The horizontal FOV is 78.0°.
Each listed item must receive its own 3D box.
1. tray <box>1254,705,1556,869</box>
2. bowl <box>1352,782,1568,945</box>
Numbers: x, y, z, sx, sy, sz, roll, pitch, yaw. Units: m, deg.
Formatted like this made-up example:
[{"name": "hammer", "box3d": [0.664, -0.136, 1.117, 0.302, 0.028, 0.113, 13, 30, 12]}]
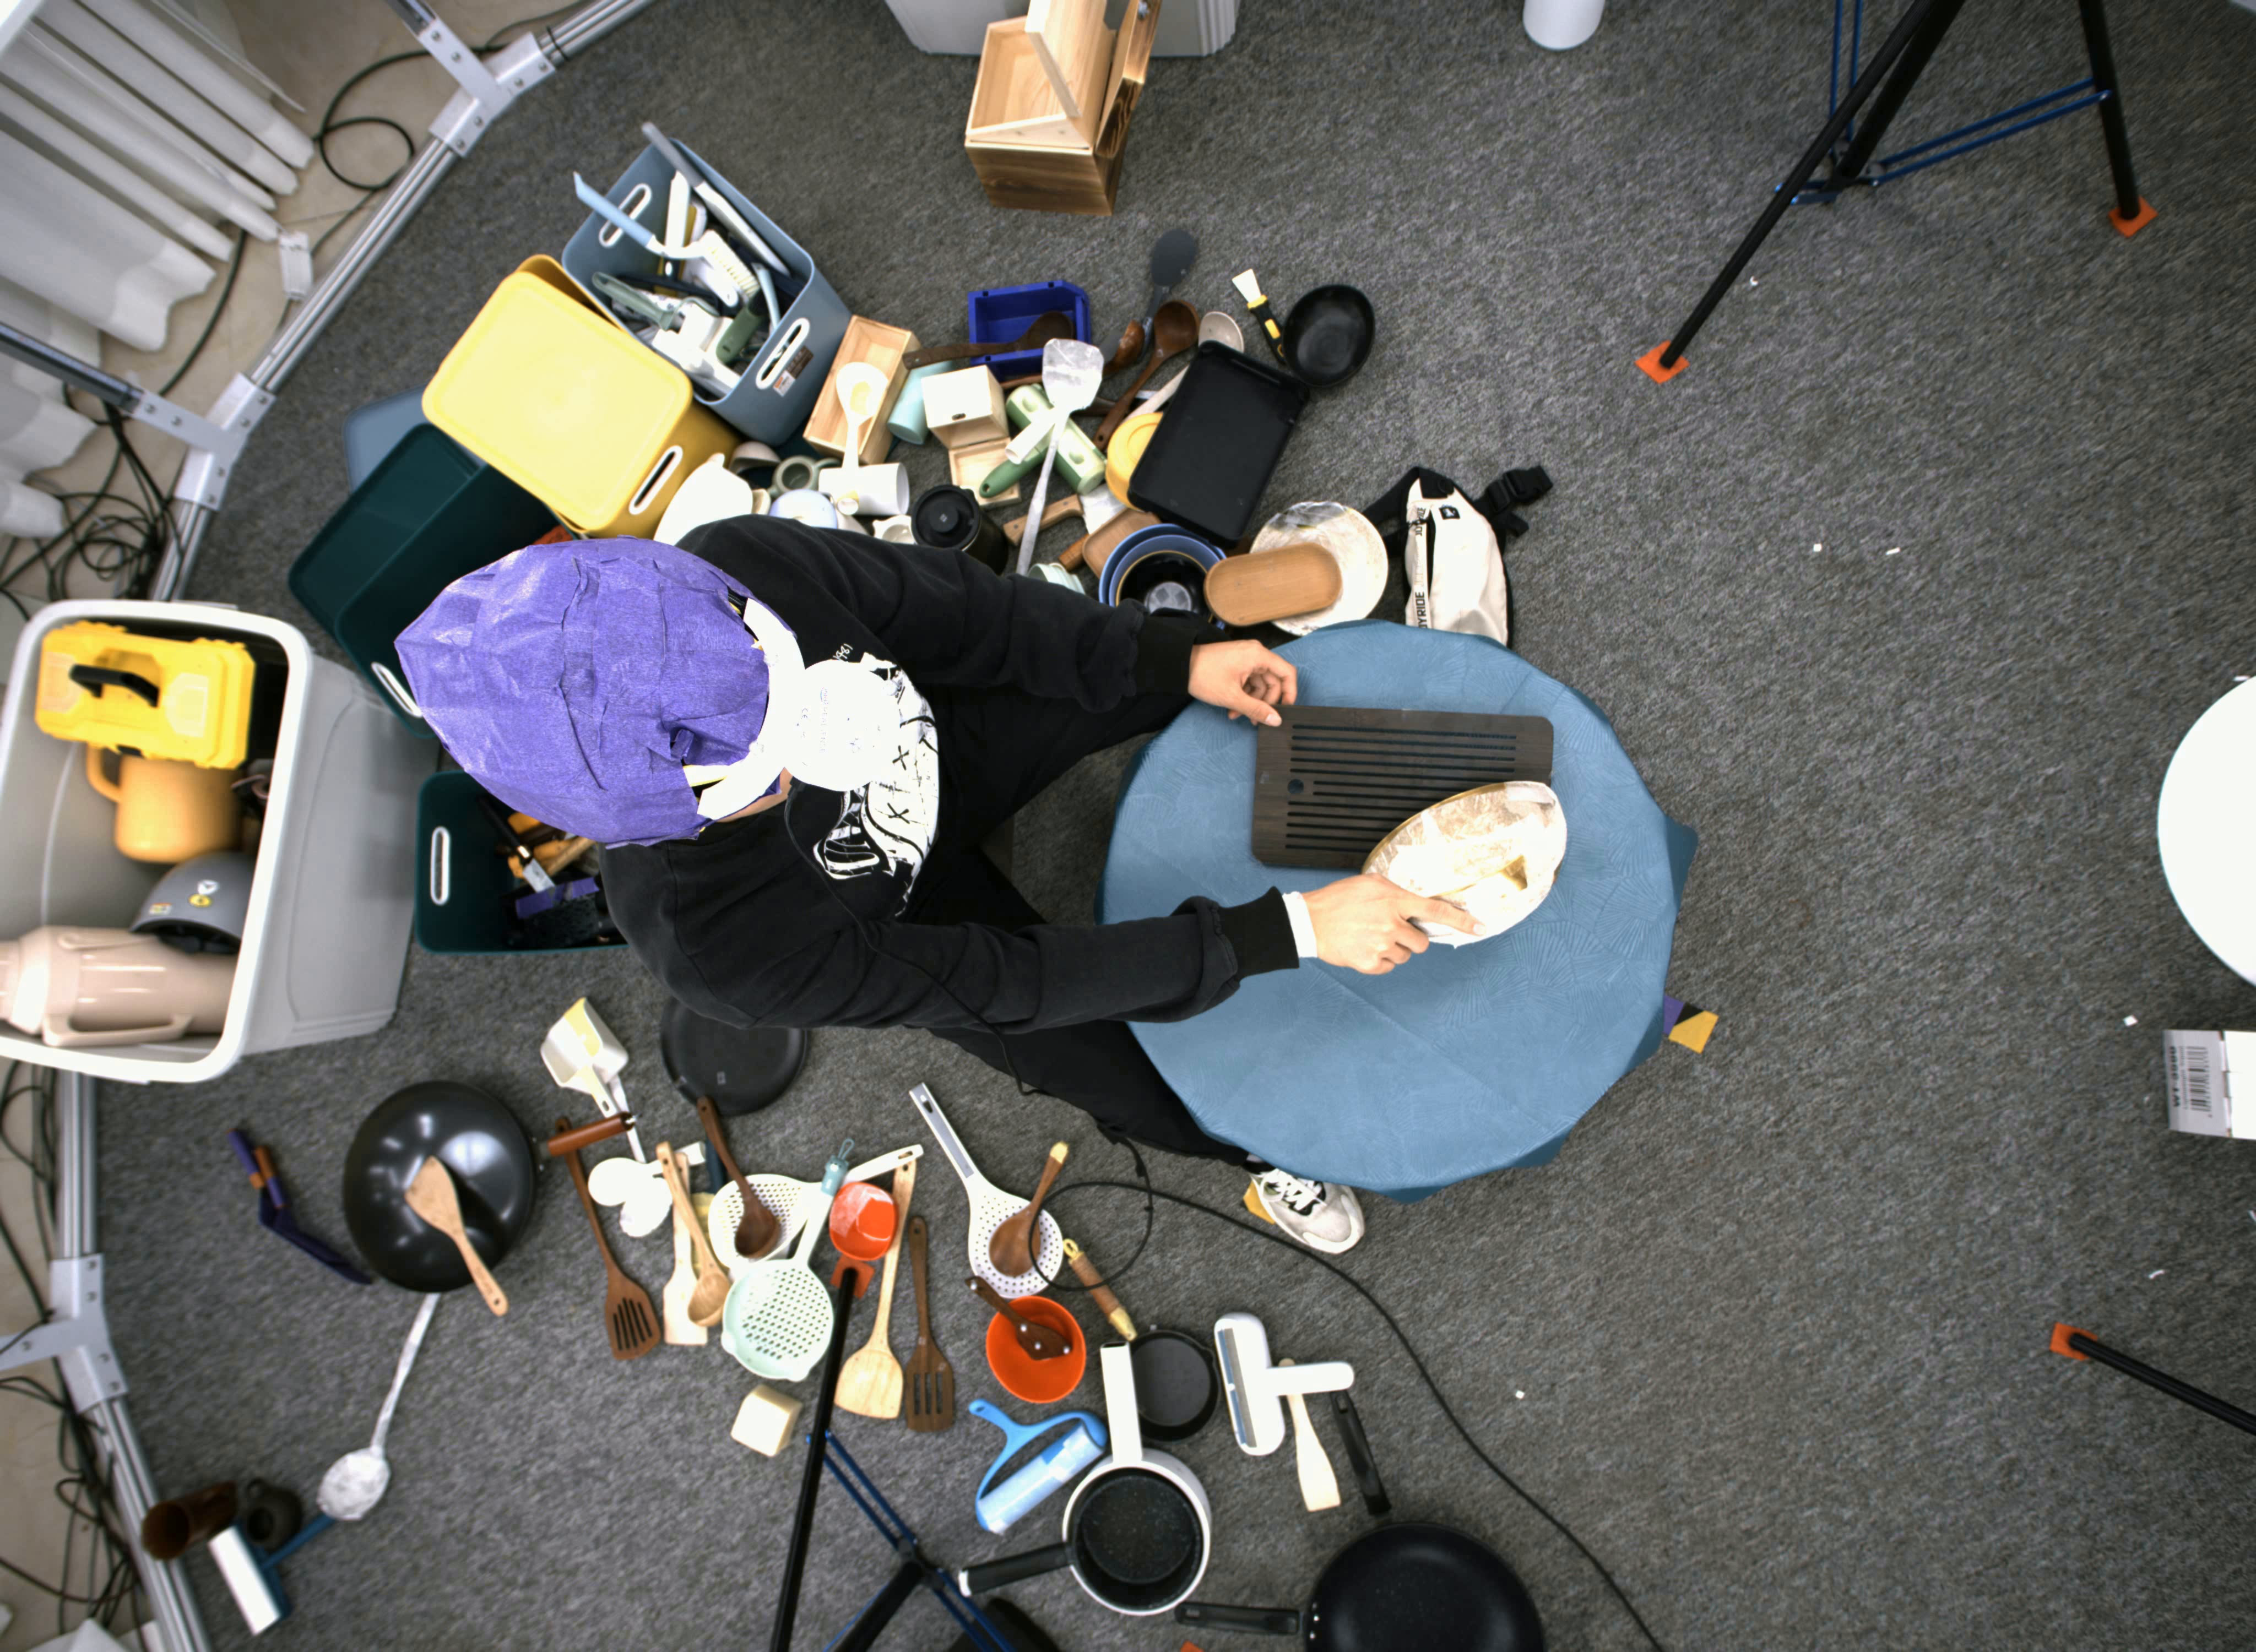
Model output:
[{"name": "tray", "box3d": [0.289, -0.038, 1.449, 0.307, 0.018, 0.170, 3, 94, 11]}, {"name": "bowl", "box3d": [0.332, 0.049, 1.330, 0.216, 0.211, 0.095, -29, 109, 6]}]
